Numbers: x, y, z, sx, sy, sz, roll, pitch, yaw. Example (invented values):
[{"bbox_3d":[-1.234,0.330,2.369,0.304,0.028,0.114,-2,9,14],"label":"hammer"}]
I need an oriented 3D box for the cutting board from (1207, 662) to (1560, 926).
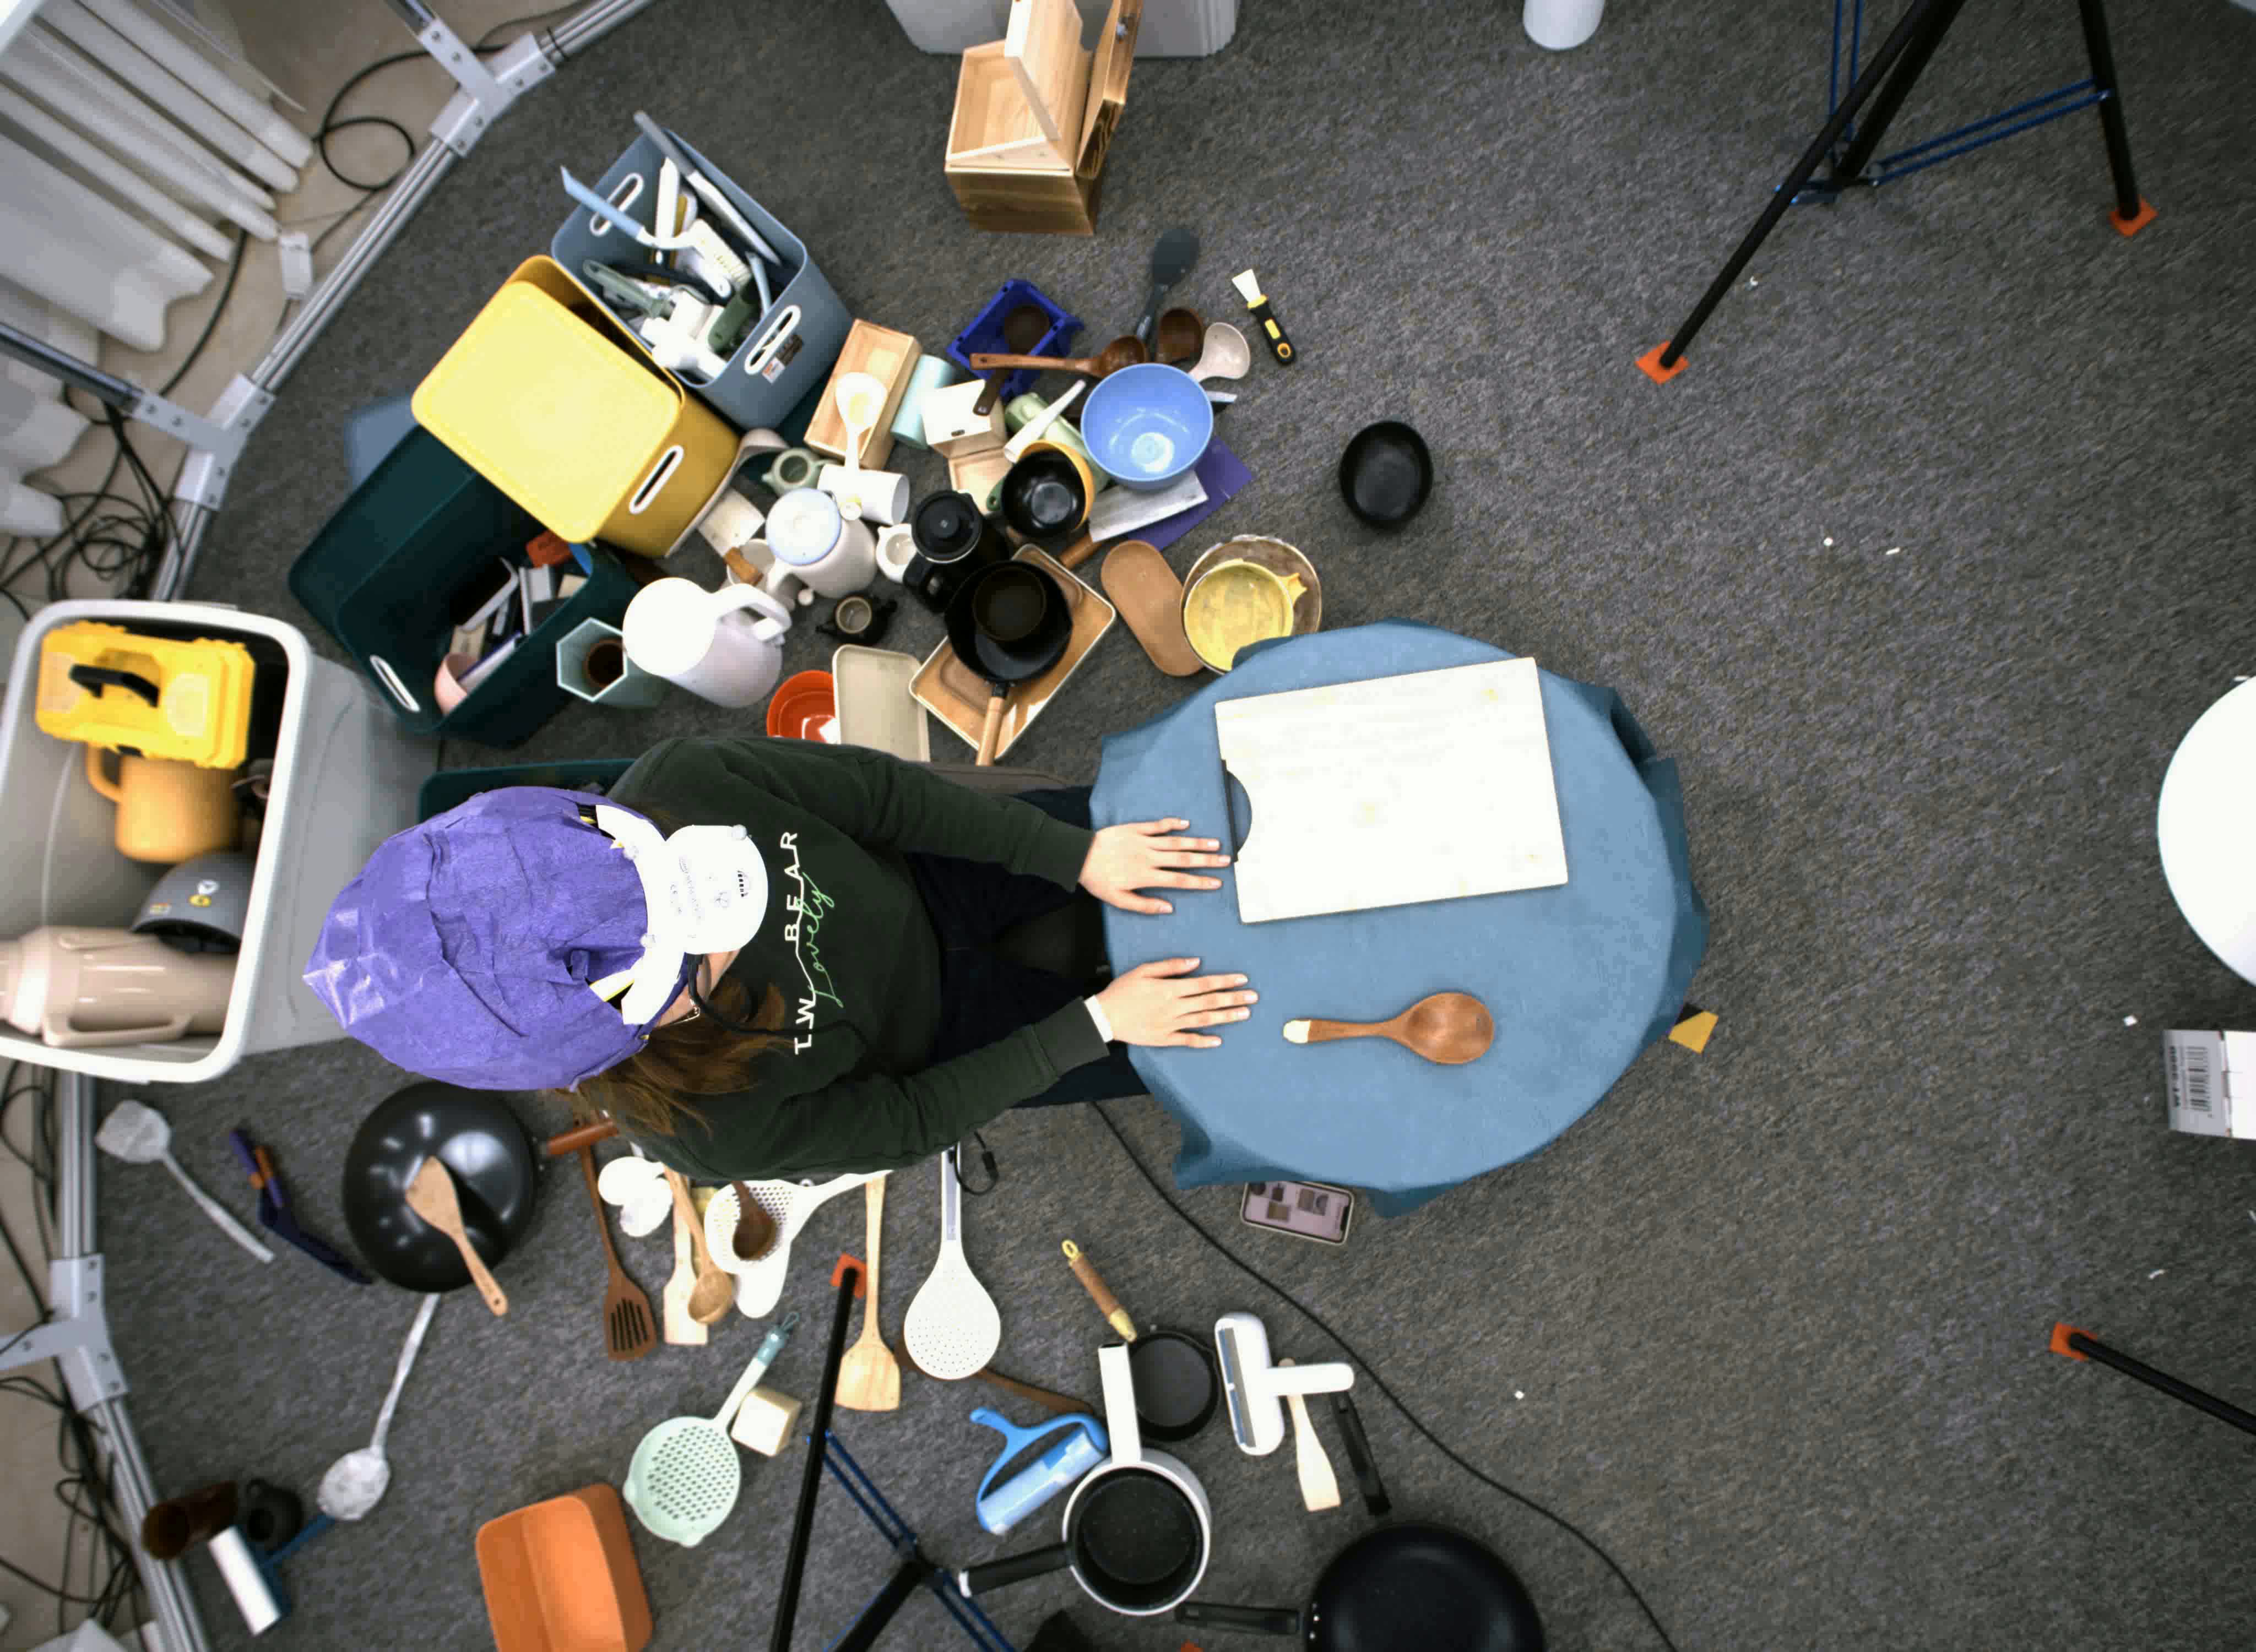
[{"bbox_3d":[0.270,-0.034,1.464,0.350,0.023,0.249,-9,84,10],"label":"cutting board"}]

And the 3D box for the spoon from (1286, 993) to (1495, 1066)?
[{"bbox_3d":[0.273,0.213,1.445,0.217,0.017,0.075,-3,87,10],"label":"spoon"}]
